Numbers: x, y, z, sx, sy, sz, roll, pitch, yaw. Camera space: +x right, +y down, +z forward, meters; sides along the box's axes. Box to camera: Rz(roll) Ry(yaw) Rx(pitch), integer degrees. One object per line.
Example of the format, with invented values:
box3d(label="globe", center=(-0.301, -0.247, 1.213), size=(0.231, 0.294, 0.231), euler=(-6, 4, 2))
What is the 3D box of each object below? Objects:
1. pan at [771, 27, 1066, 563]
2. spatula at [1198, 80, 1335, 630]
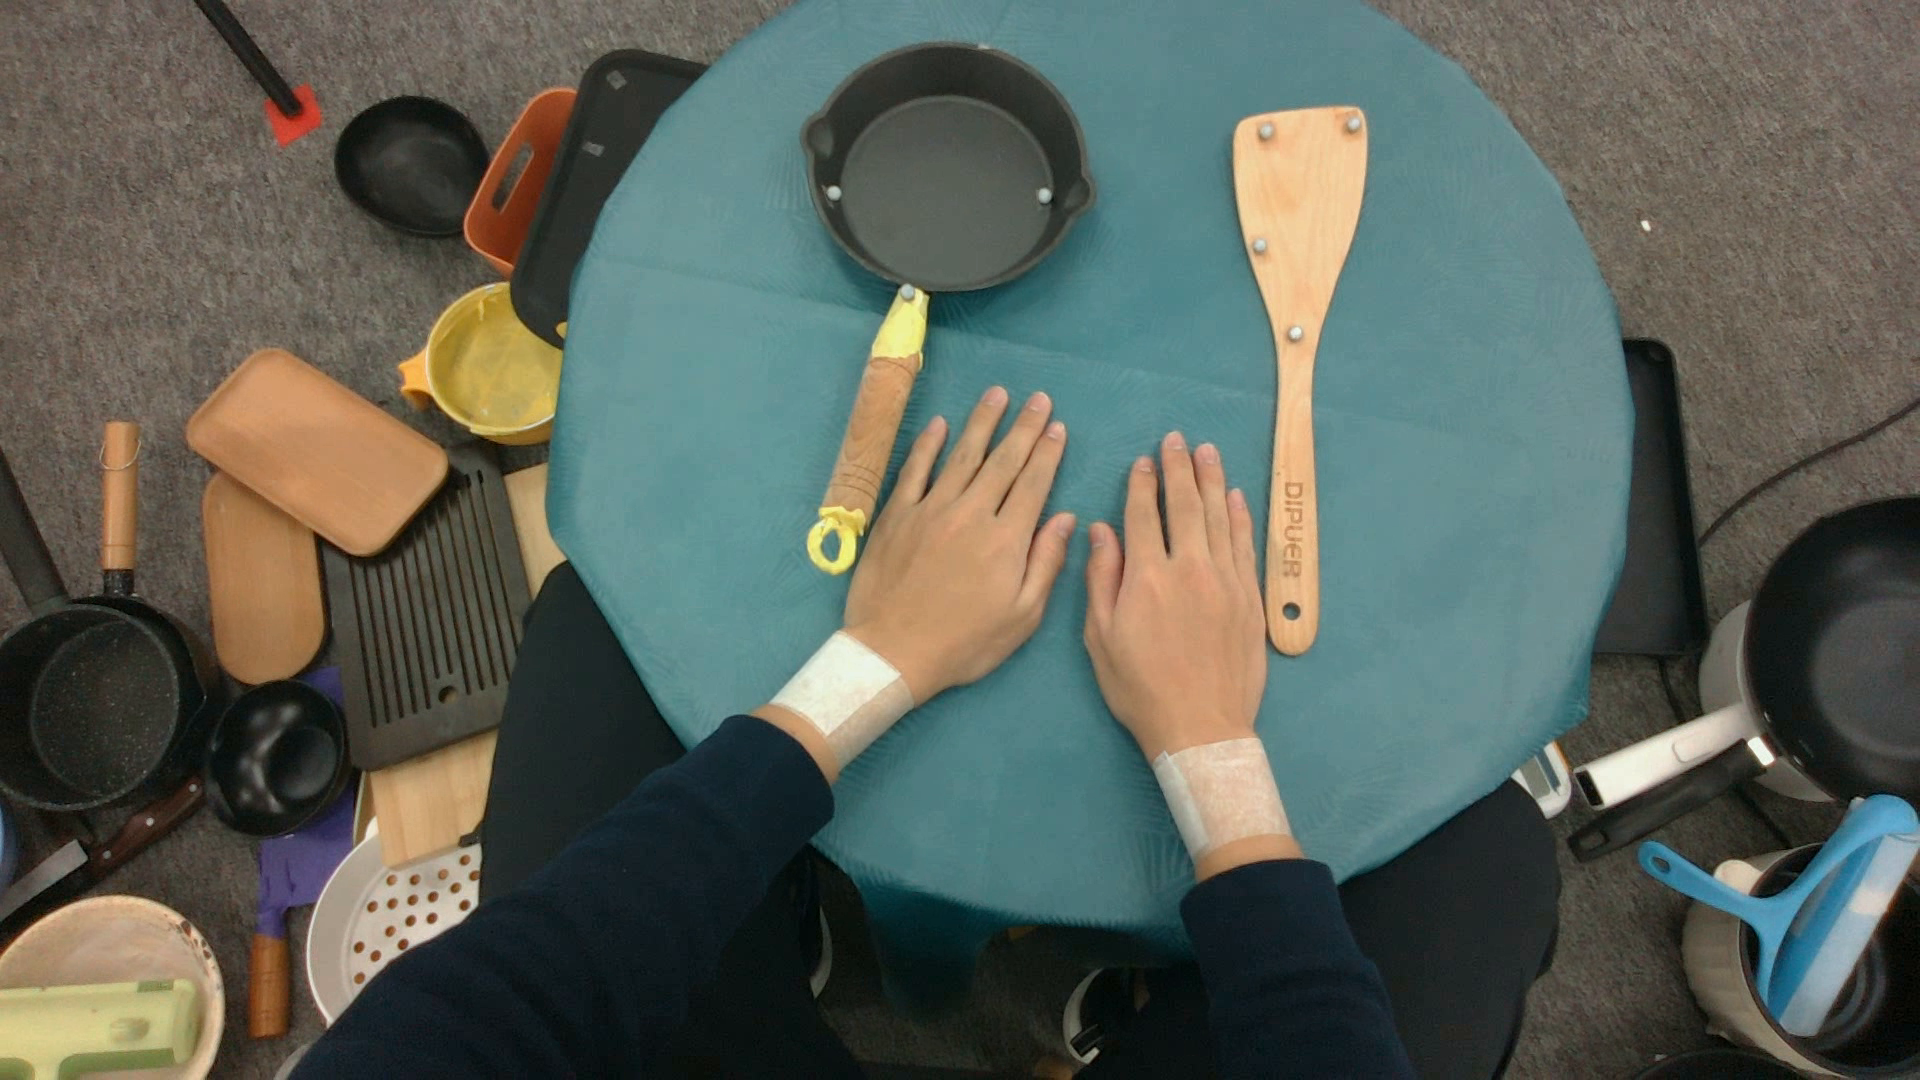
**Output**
box3d(label="pan", center=(-0.043, -0.138, 0.750), size=(0.169, 0.049, 0.325), euler=(14, 73, 2))
box3d(label="spatula", center=(0.173, -0.111, 0.768), size=(0.080, 0.016, 0.328), euler=(3, 74, 0))
